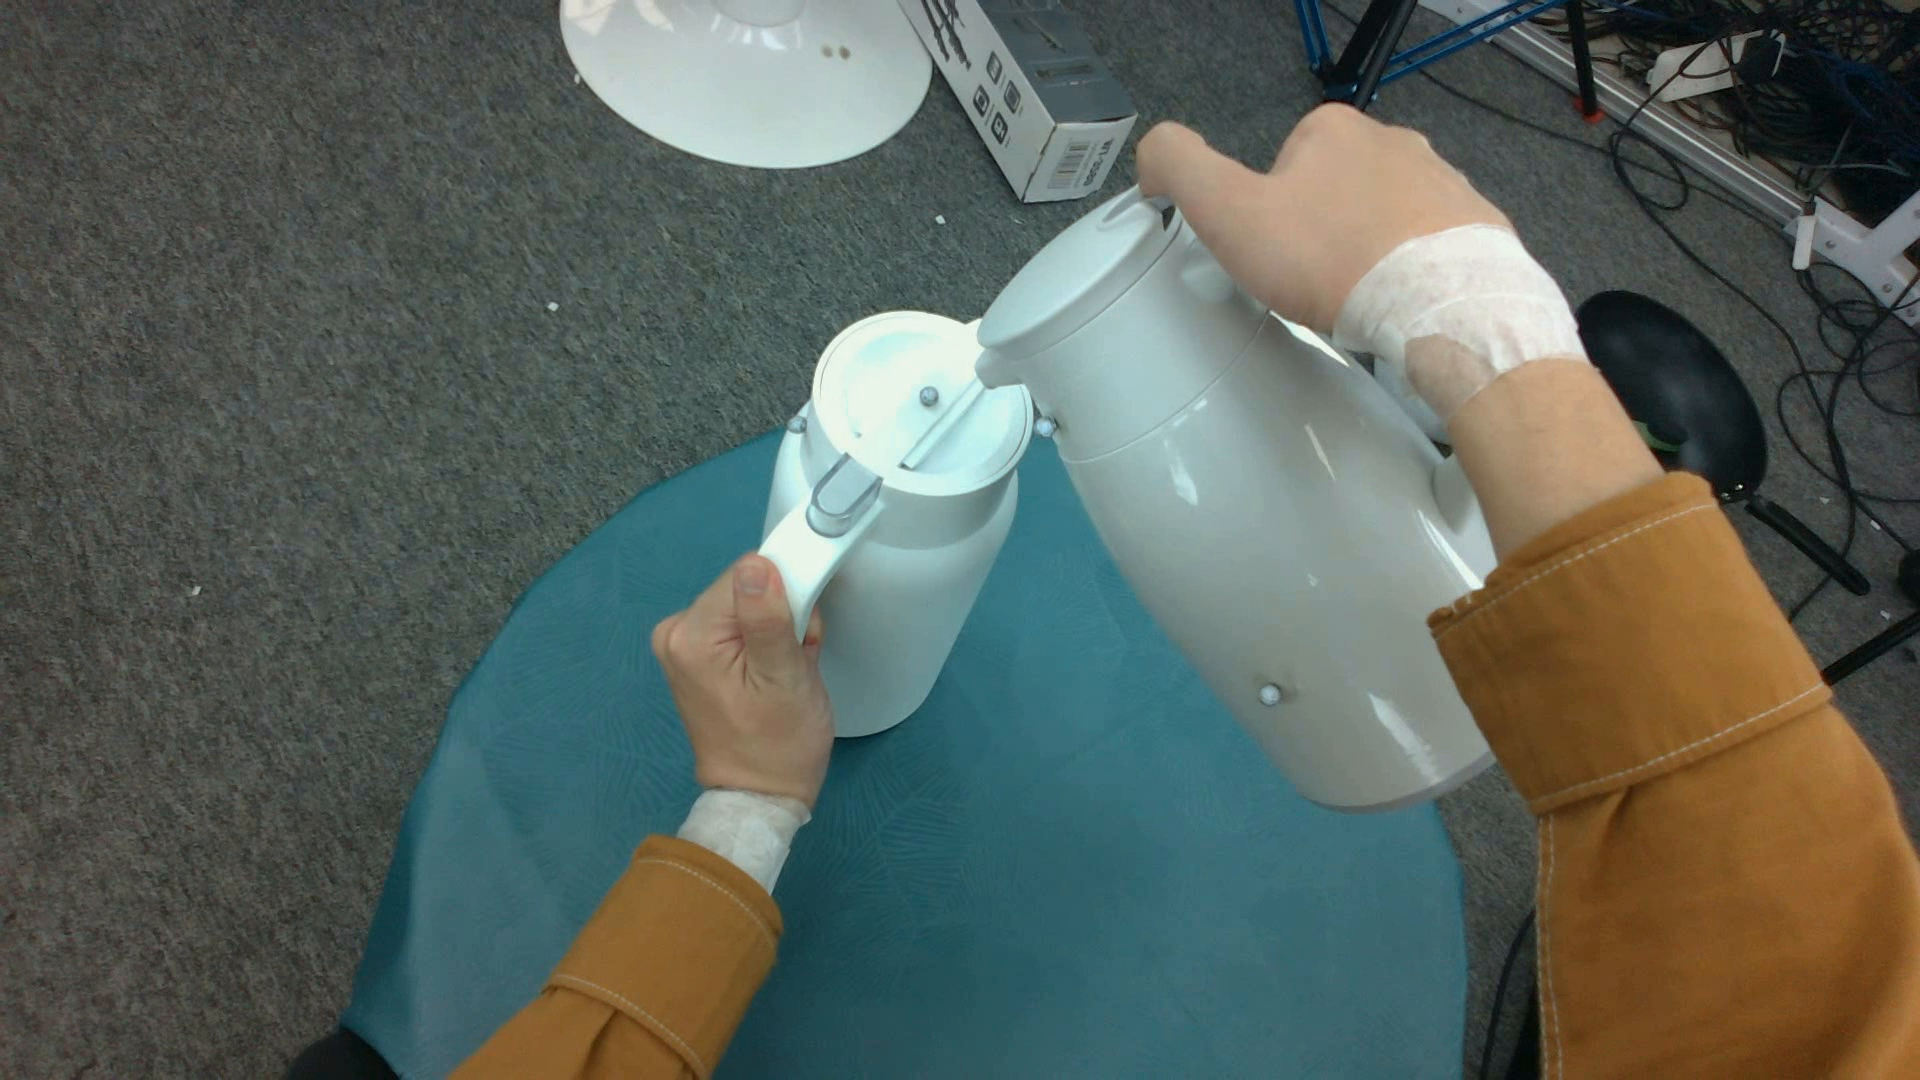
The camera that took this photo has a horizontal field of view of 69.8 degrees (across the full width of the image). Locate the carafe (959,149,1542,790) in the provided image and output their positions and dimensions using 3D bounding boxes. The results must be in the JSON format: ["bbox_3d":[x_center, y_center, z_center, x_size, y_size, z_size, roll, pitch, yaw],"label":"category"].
[{"bbox_3d":[0.123,-0.036,0.539,0.248,0.167,0.133,48,42,-19],"label":"carafe"}]

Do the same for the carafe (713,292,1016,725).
[{"bbox_3d":[-0.060,0.007,0.699,0.124,0.267,0.173,35,58,4],"label":"carafe"}]
